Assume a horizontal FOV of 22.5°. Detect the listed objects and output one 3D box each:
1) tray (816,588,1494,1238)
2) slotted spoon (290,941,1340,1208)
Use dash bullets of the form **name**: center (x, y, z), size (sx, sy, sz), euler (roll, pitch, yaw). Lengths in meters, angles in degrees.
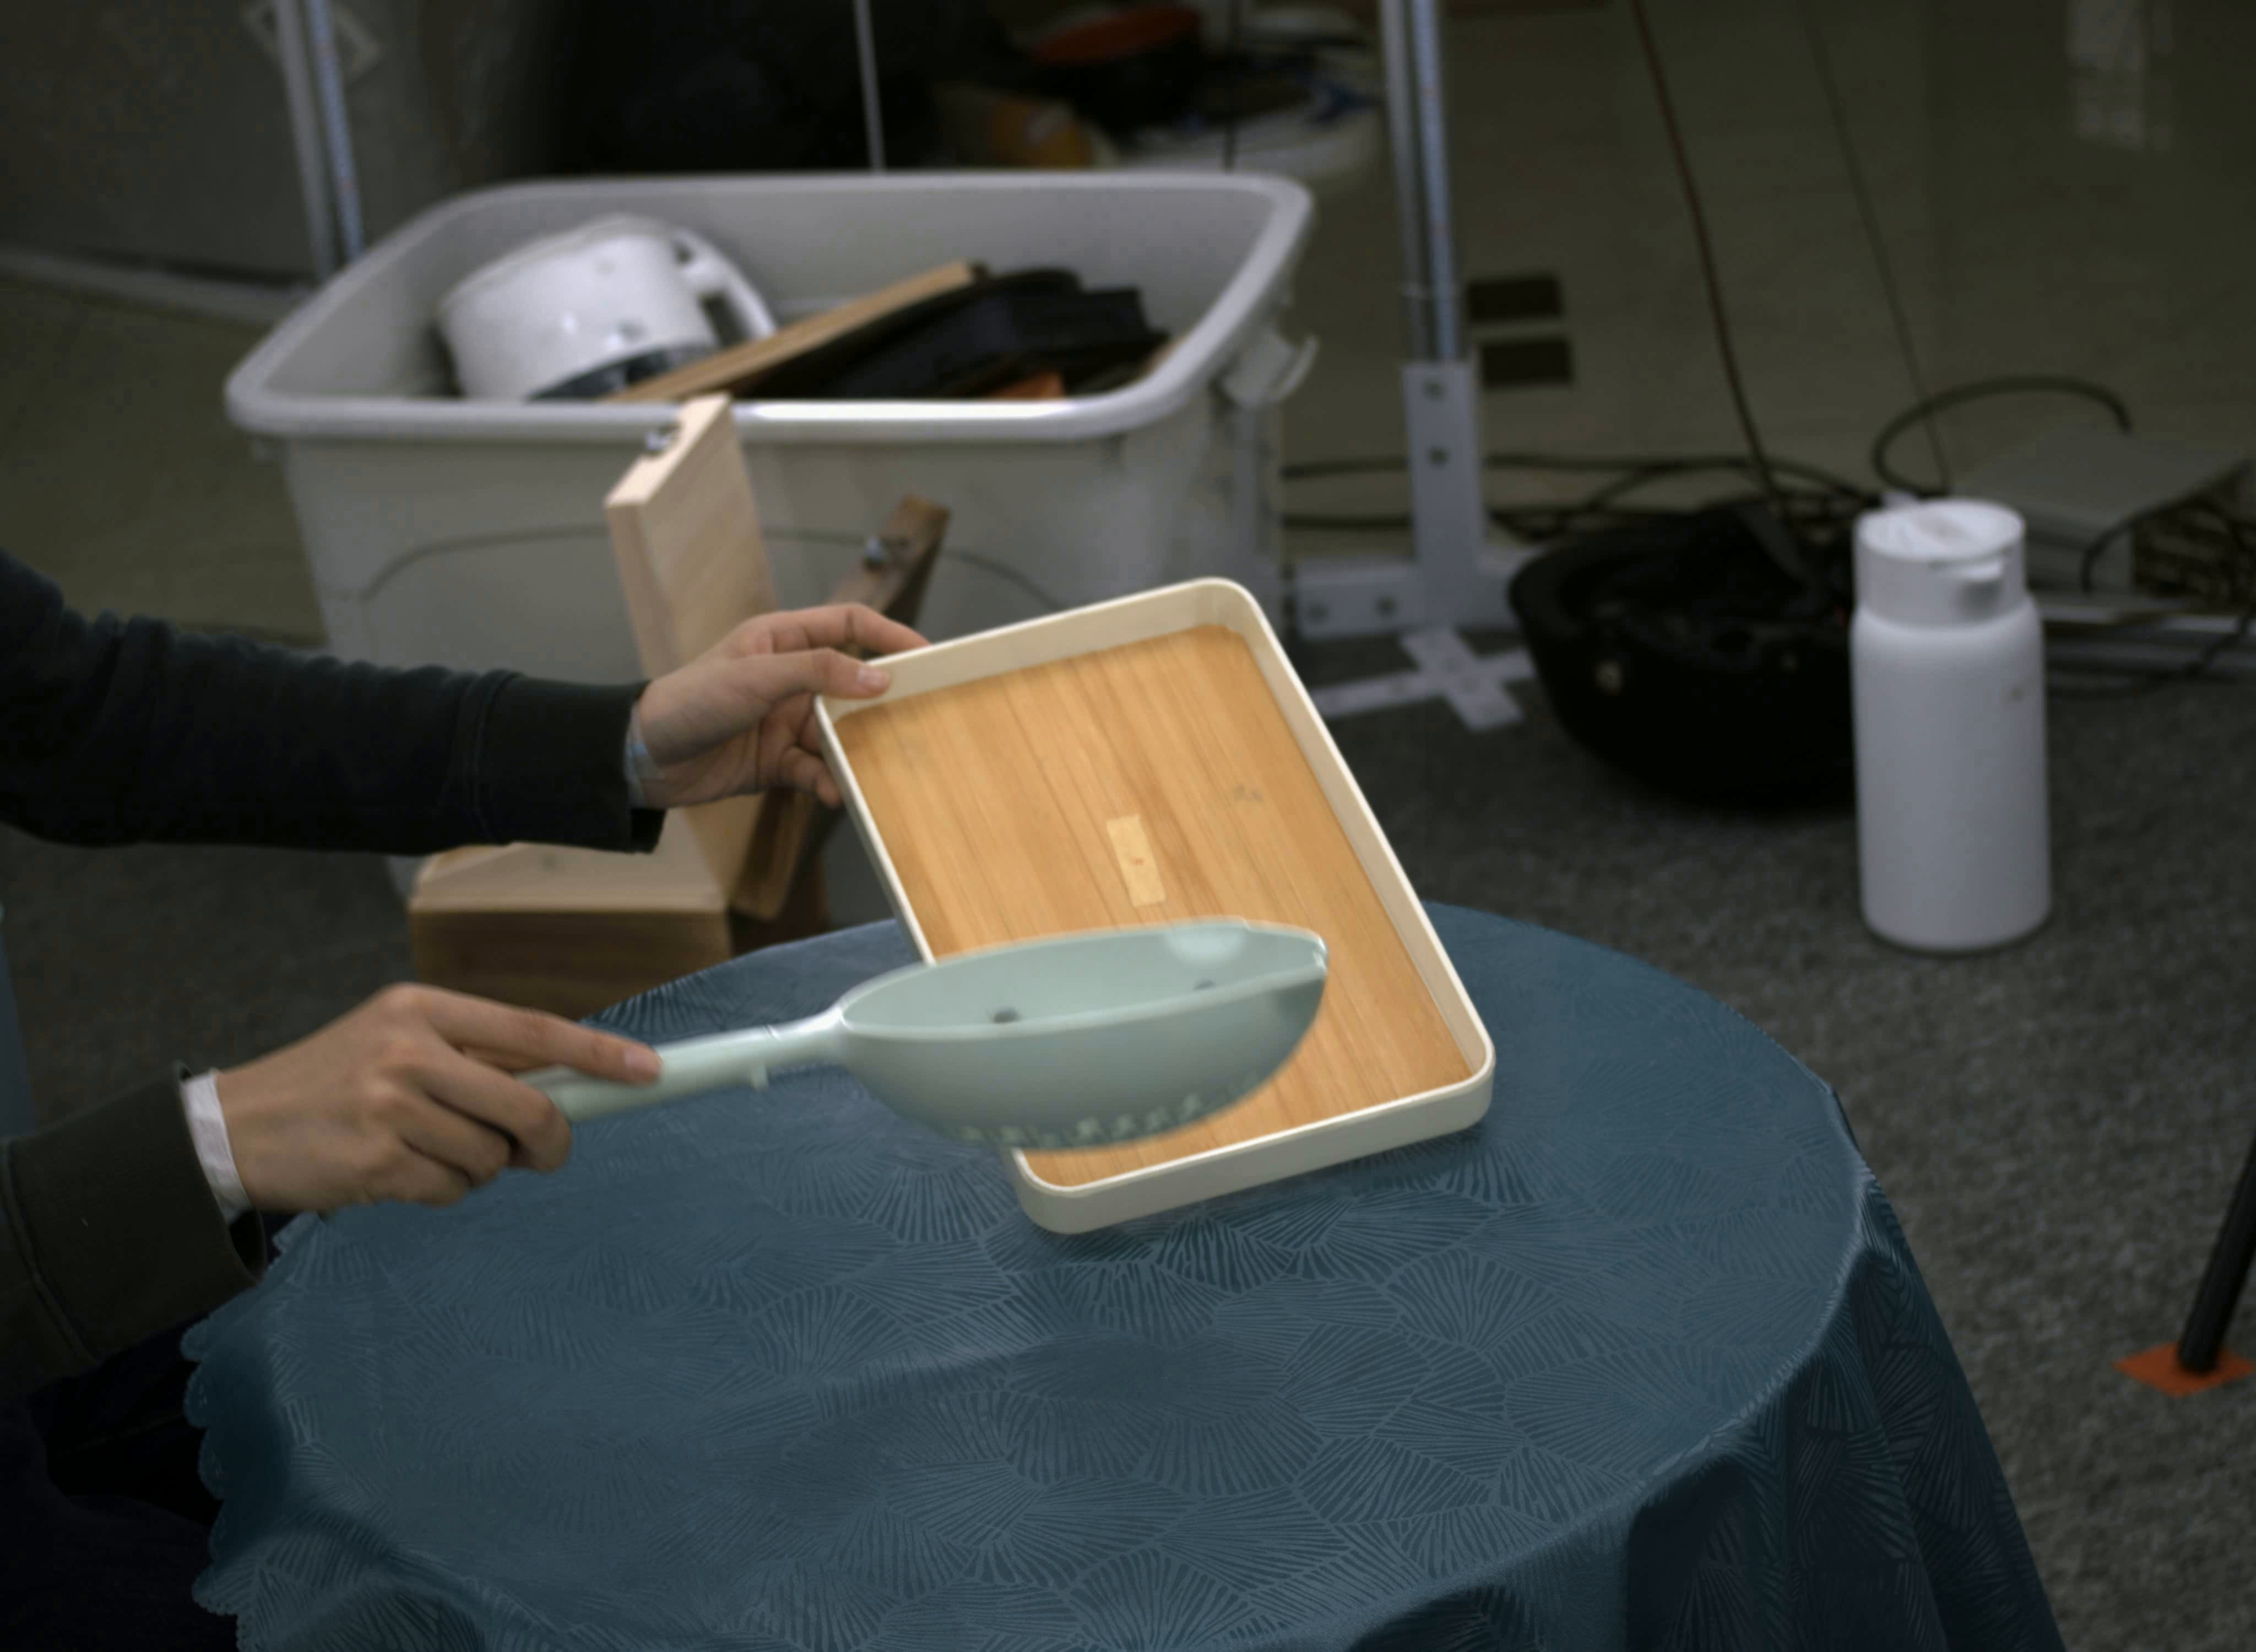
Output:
- **tray**: center (0.006, 0.029, 2.222), size (0.191, 0.028, 0.295), euler (-14, 47, -12)
- **slotted spoon**: center (-0.104, 0.087, 1.924), size (0.358, 0.076, 0.168), euler (-1, 7, -13)
